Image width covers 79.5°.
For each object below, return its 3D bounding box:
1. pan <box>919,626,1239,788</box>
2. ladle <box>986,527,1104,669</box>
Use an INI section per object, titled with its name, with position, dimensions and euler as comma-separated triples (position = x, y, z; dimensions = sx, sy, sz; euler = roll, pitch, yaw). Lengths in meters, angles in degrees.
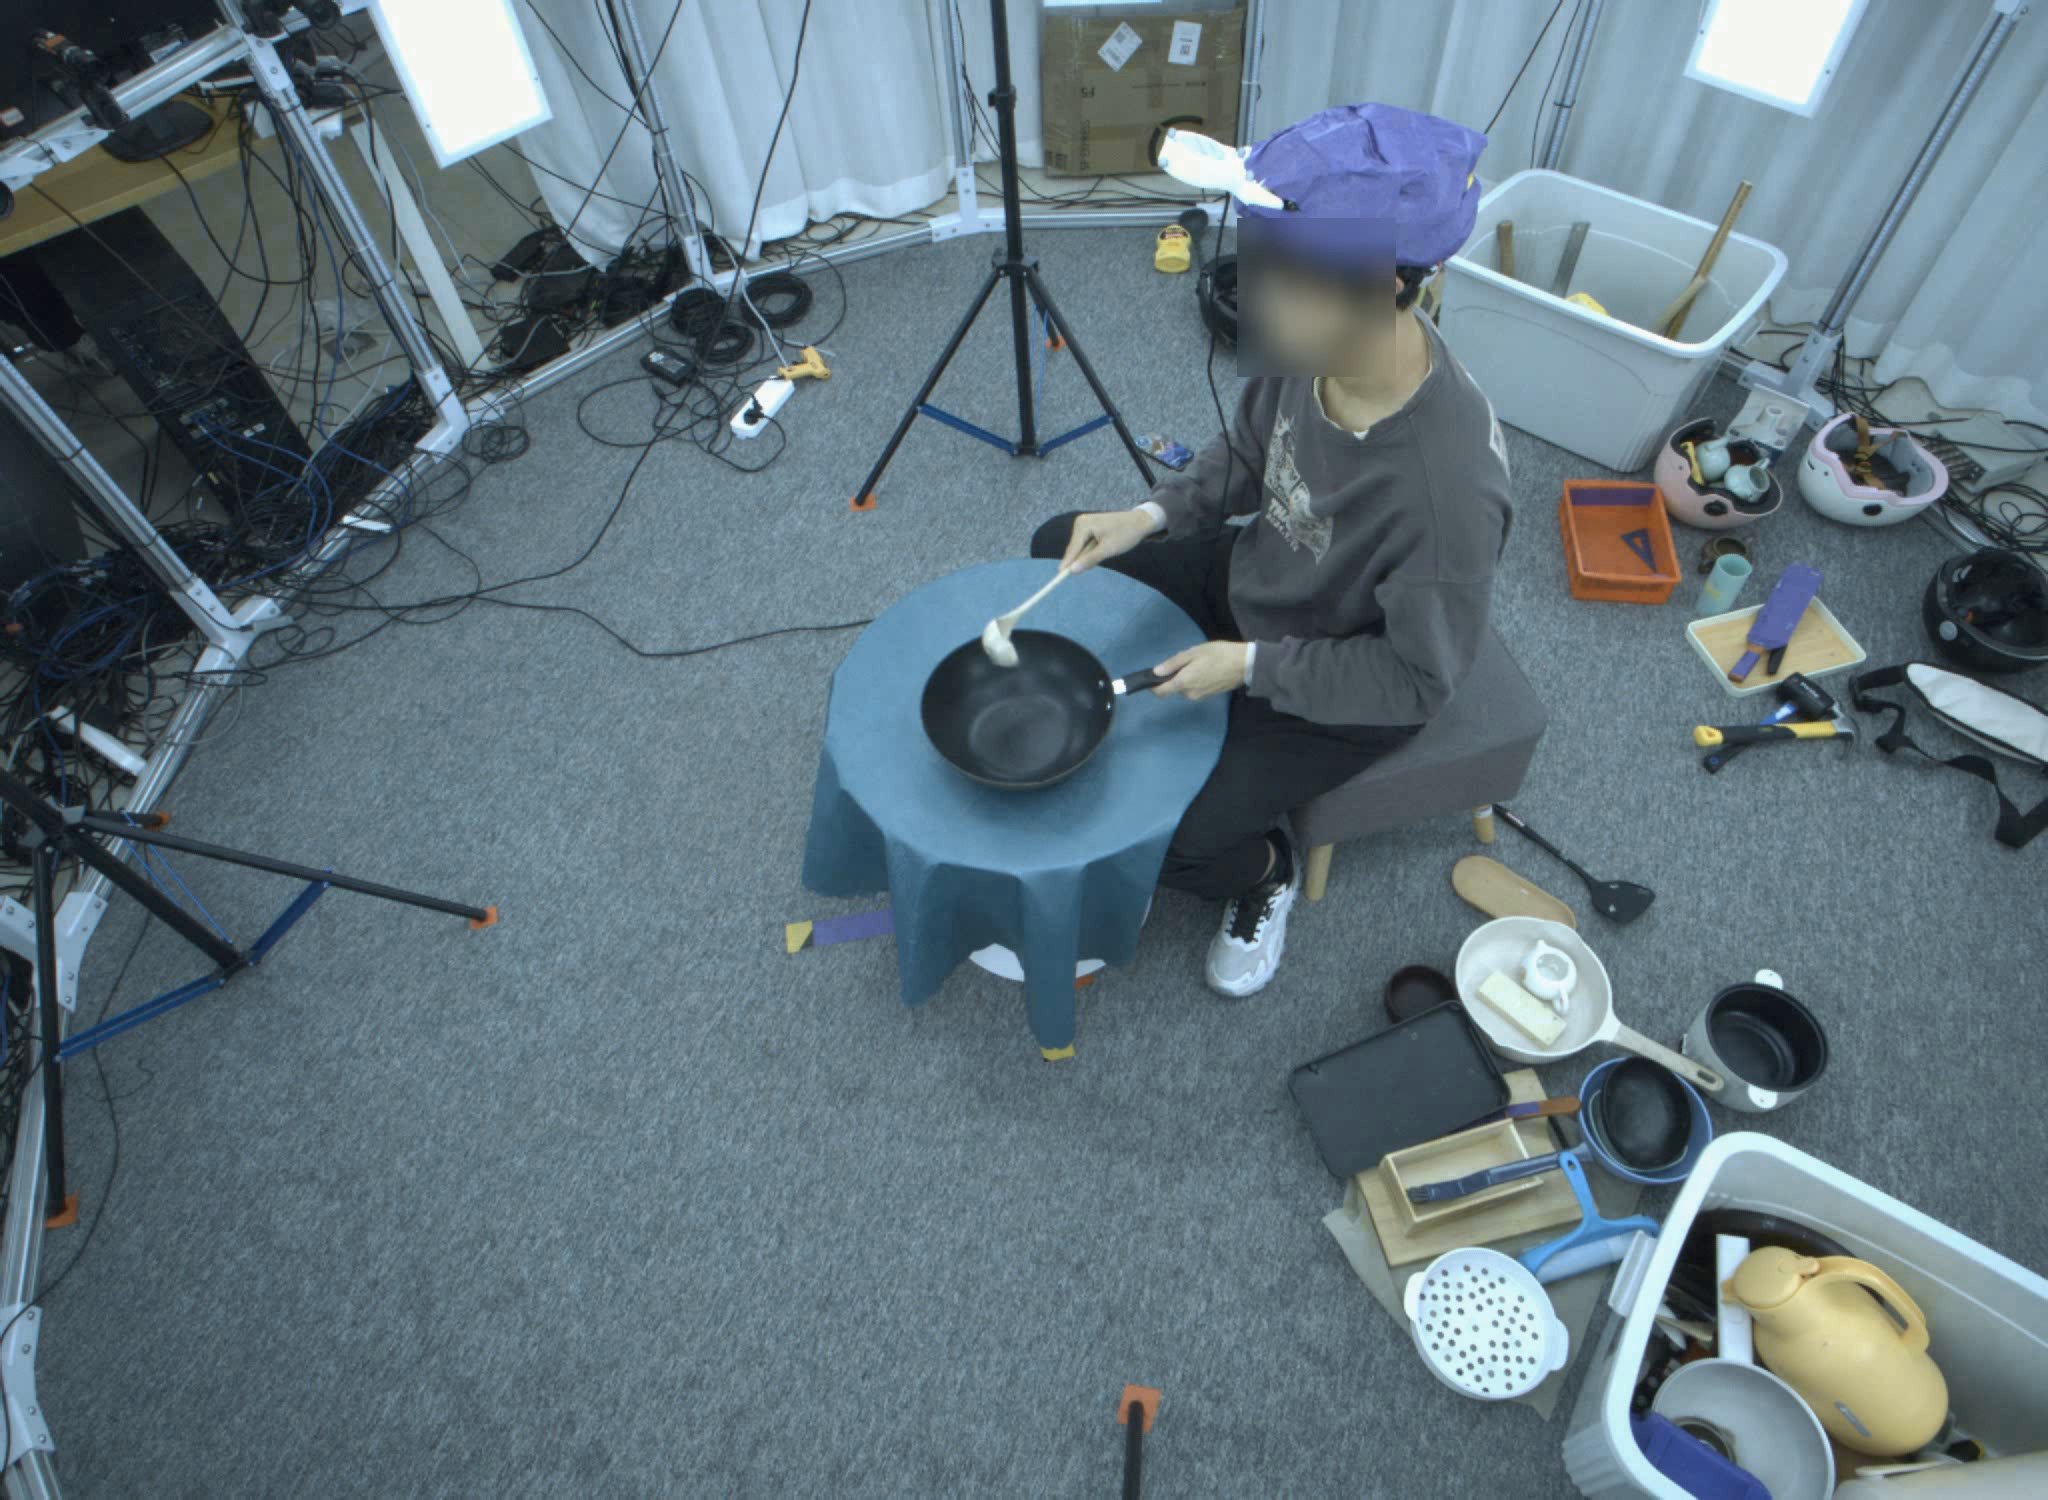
[pan]
position = 0.081, -0.067, 1.779
dimensions = 0.466, 0.088, 0.283
euler = -11, 54, -7
[ladle]
position = 0.046, -0.220, 1.744
dimensions = 0.255, 0.073, 0.071
euler = -47, 36, -8
